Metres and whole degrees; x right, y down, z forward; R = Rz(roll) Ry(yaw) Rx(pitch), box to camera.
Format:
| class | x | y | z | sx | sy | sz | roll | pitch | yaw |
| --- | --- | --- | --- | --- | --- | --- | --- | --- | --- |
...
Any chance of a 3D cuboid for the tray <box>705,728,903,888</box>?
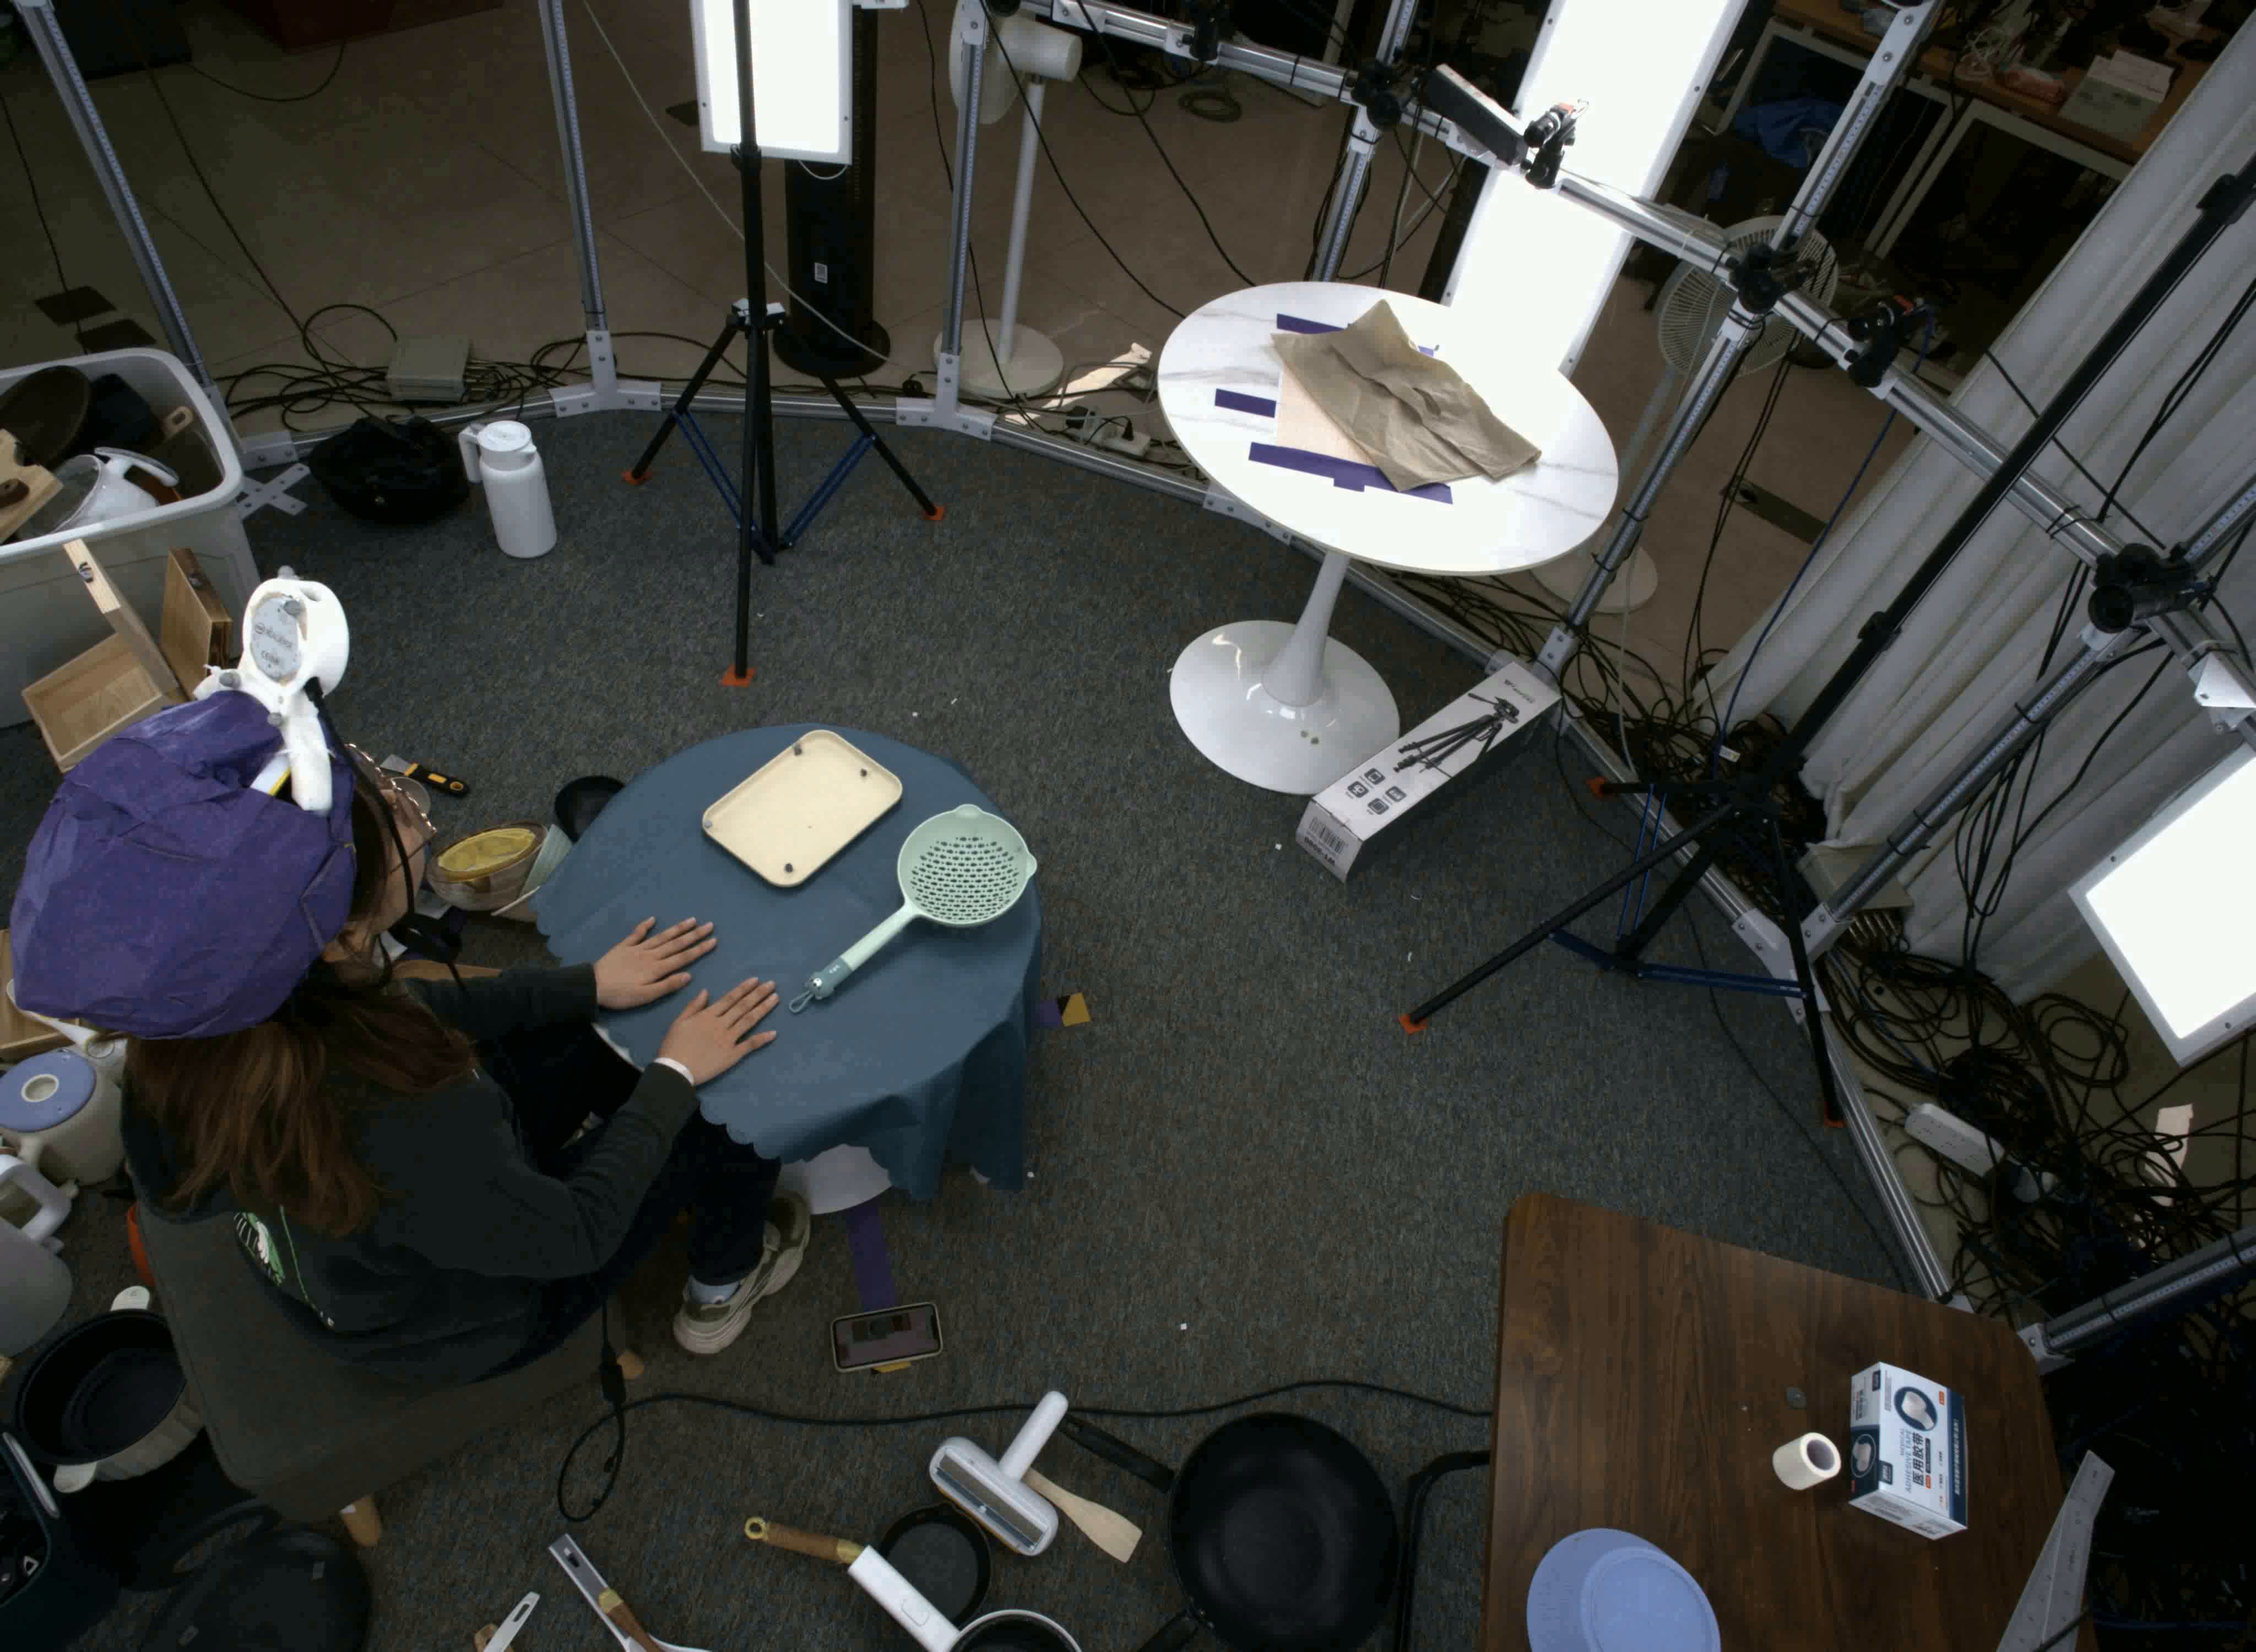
| class | x | y | z | sx | sy | sz | roll | pitch | yaw |
| --- | --- | --- | --- | --- | --- | --- | --- | --- | --- |
| tray | -0.431 | -0.027 | 1.737 | 0.168 | 0.018 | 0.239 | 35 | 54 | 12 |

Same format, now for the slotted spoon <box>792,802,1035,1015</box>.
| class | x | y | z | sx | sy | sz | roll | pitch | yaw |
| --- | --- | --- | --- | --- | --- | --- | --- | --- | --- |
| slotted spoon | -0.279 | 0.111 | 1.643 | 0.165 | 0.077 | 0.359 | 41 | 55 | 18 |
